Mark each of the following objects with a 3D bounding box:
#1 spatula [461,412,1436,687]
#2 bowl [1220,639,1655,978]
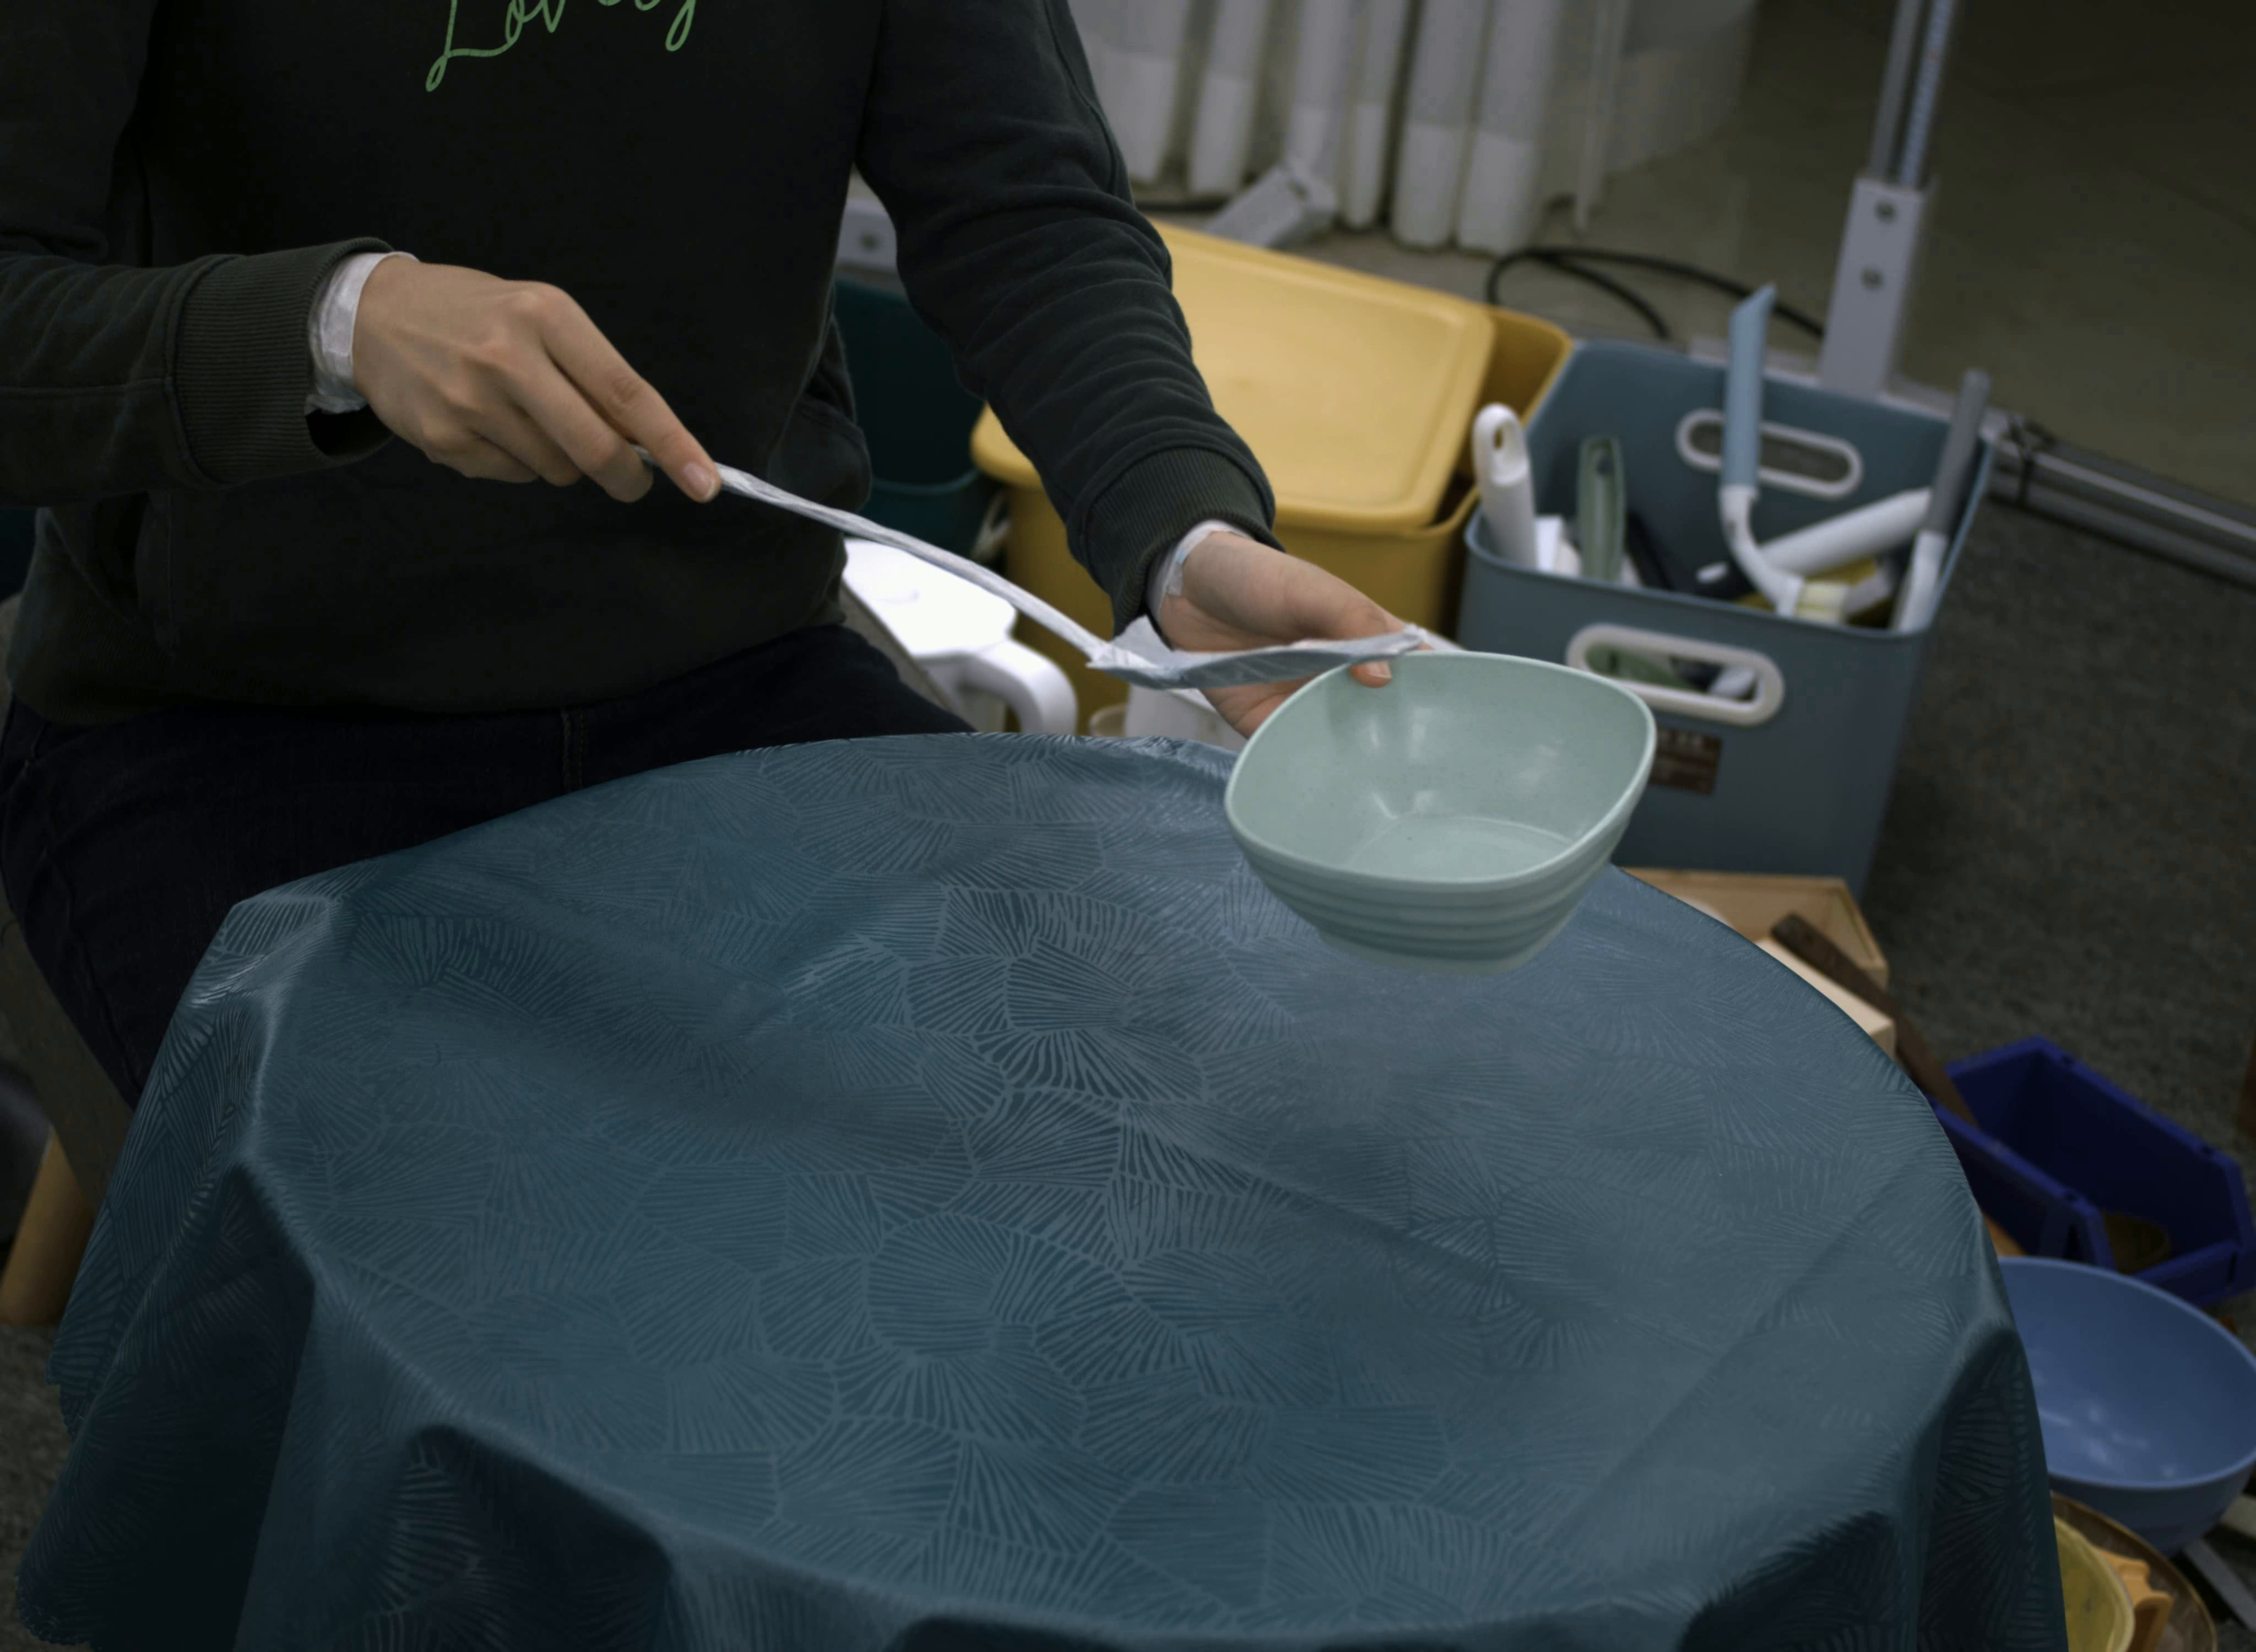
[{"bbox_3d":[-0.073,-0.098,1.748,0.366,0.045,0.098,21,14,24],"label":"spatula"},{"bbox_3d":[0.106,0.001,1.799,0.151,0.058,0.152,-4,36,2],"label":"bowl"}]
